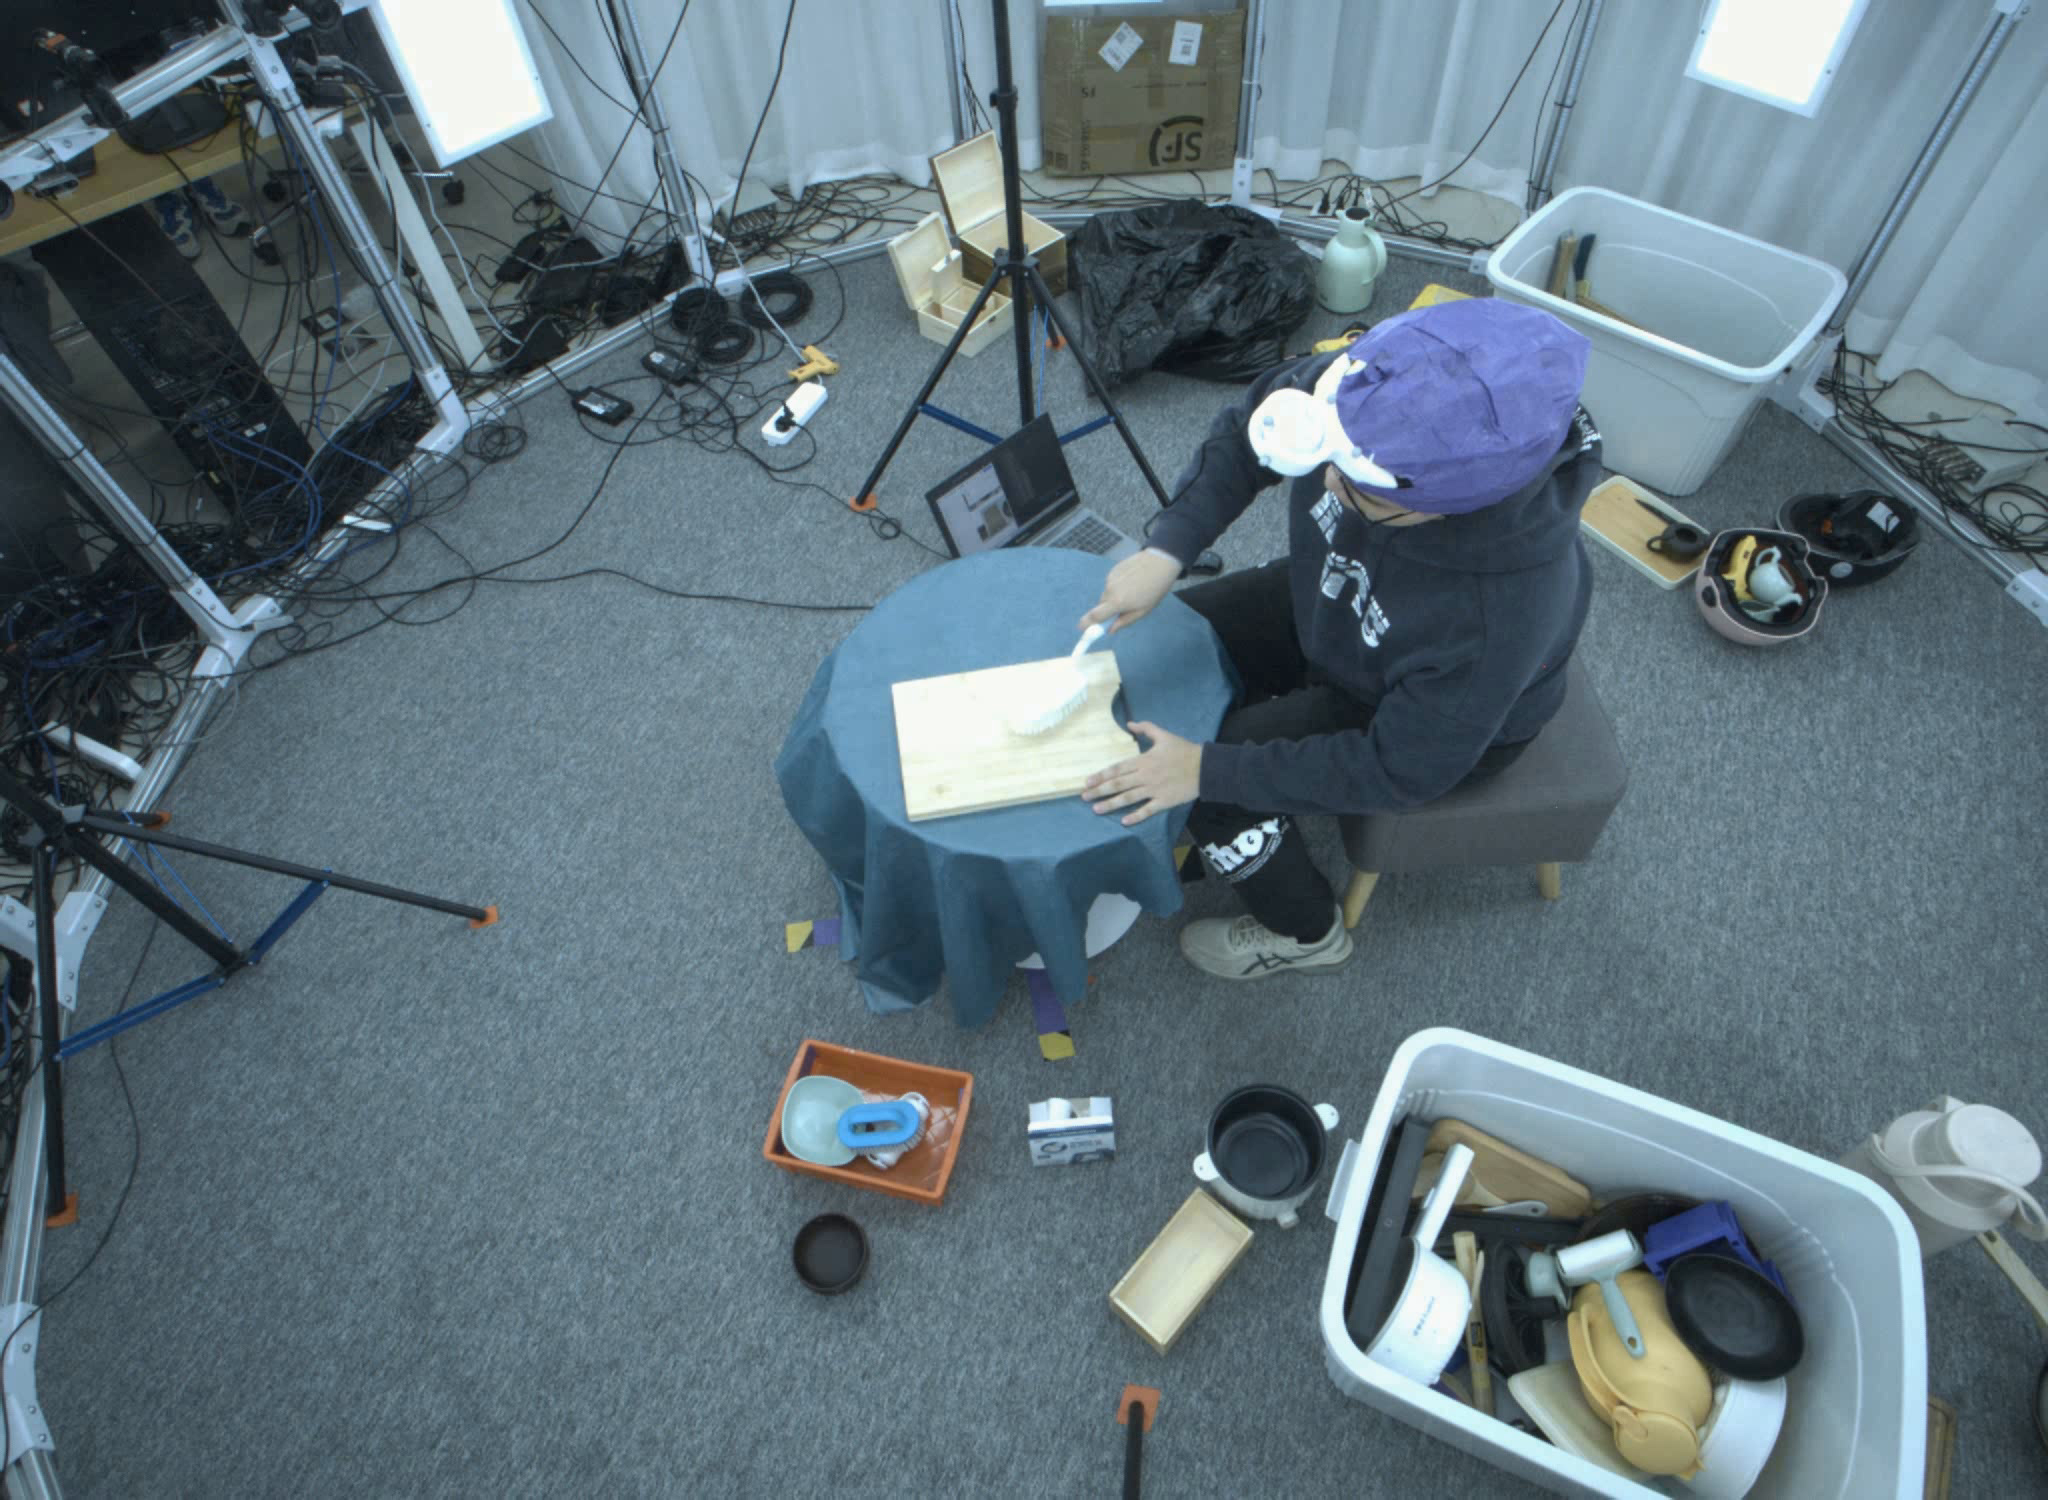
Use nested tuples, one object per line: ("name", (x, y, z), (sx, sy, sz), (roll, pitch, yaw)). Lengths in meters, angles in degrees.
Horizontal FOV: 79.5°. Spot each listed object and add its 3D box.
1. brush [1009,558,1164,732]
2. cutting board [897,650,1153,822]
("brush", (0.102, -0.146, 1.804), (0.083, 0.084, 0.326), (44, 82, -7))
("cutting board", (-0.008, -0.026, 1.796), (0.350, 0.024, 0.247), (-9, 56, -5))
